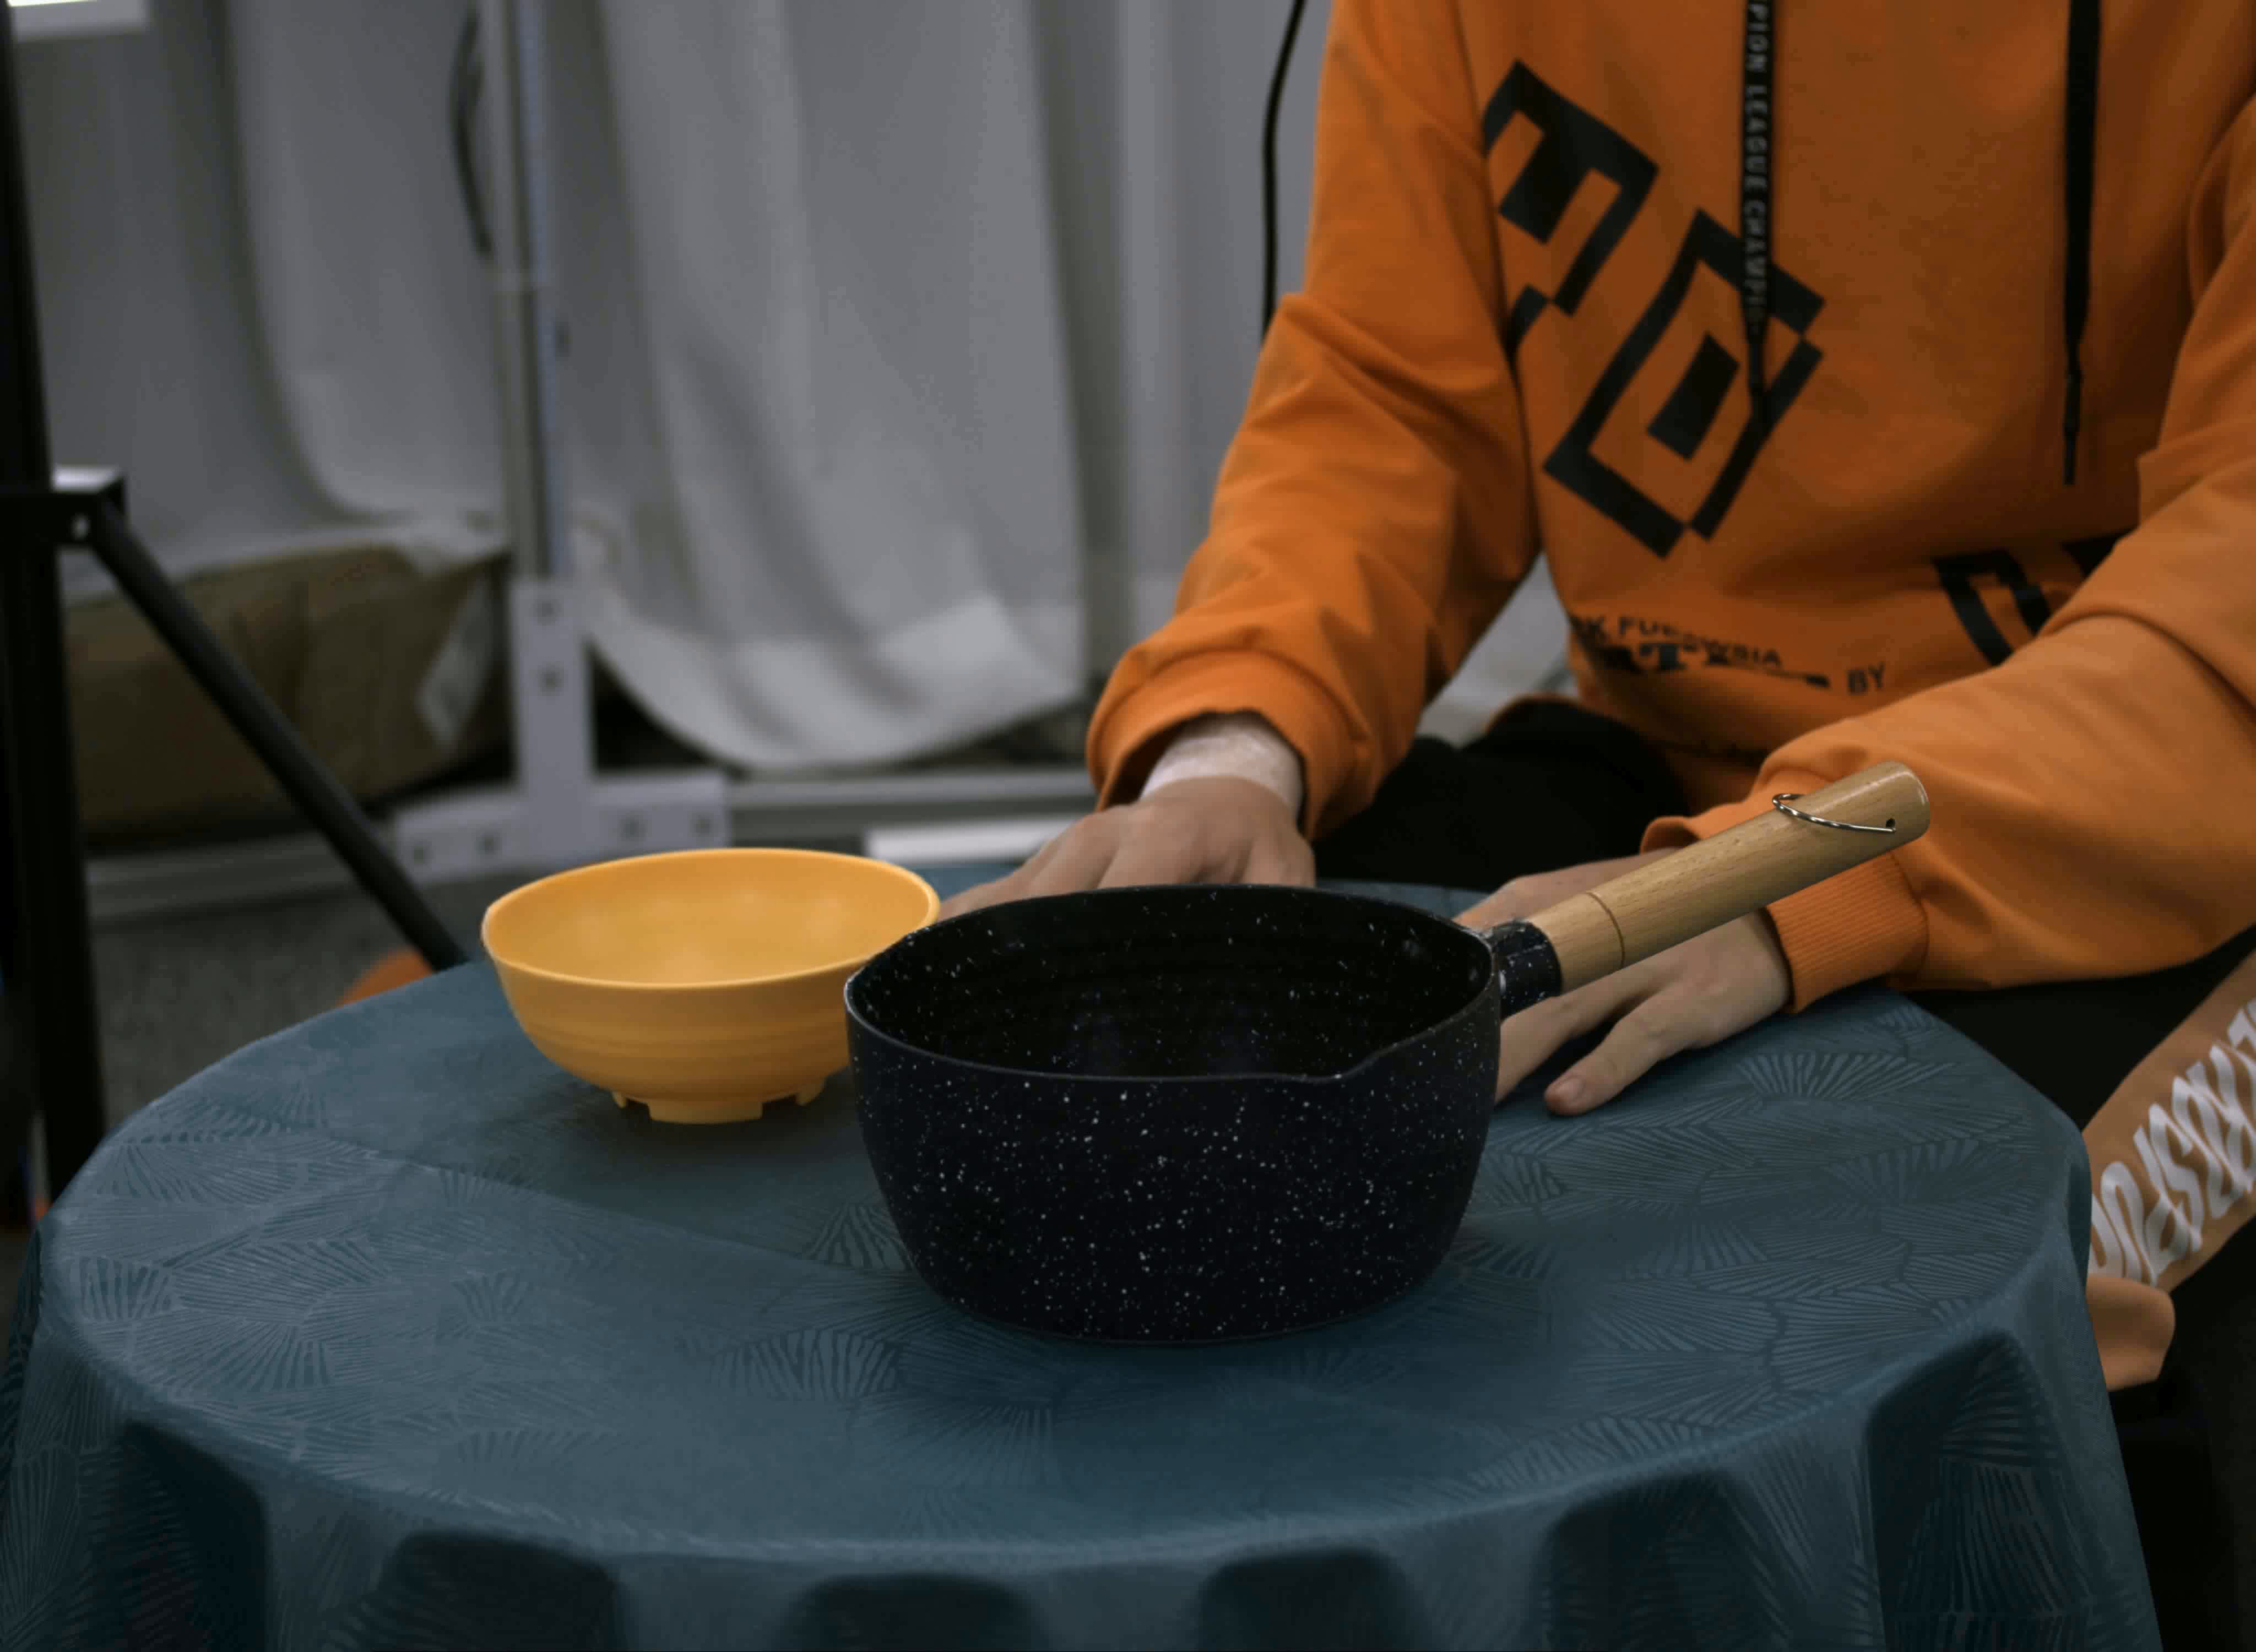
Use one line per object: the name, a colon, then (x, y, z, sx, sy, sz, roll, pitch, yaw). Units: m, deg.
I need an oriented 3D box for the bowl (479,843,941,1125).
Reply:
bowl: (-0.129, 0.054, 1.663, 0.144, 0.060, 0.146, -2, 16, -1)

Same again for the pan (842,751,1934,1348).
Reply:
pan: (0.084, 0.059, 1.521, 0.336, 0.108, 0.211, -11, 16, -23)
